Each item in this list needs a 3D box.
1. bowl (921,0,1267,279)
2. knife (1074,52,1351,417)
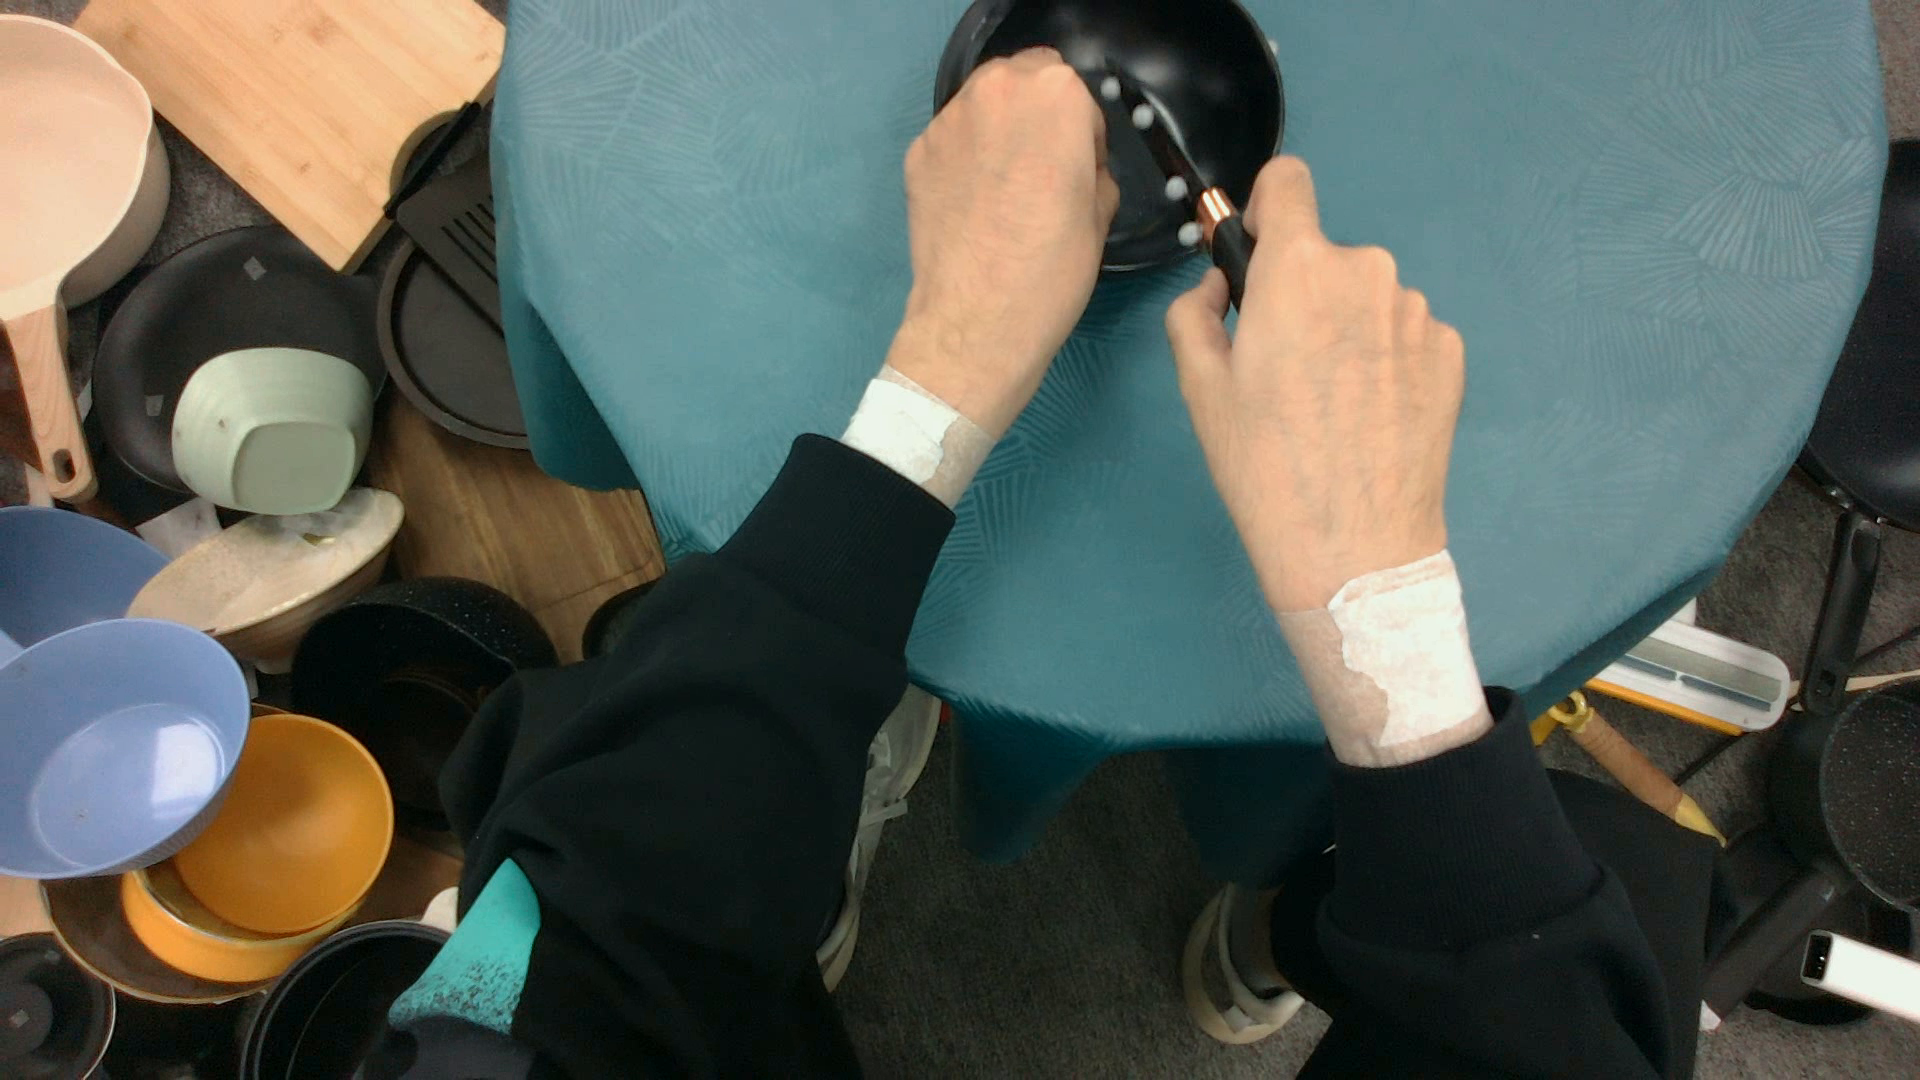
[{"bbox_3d":[0.053,-0.170,0.570,0.140,0.049,0.140,0,83,-2],"label":"bowl"},{"bbox_3d":[0.085,-0.125,0.508,0.017,0.026,0.226,-13,52,-13],"label":"knife"}]
